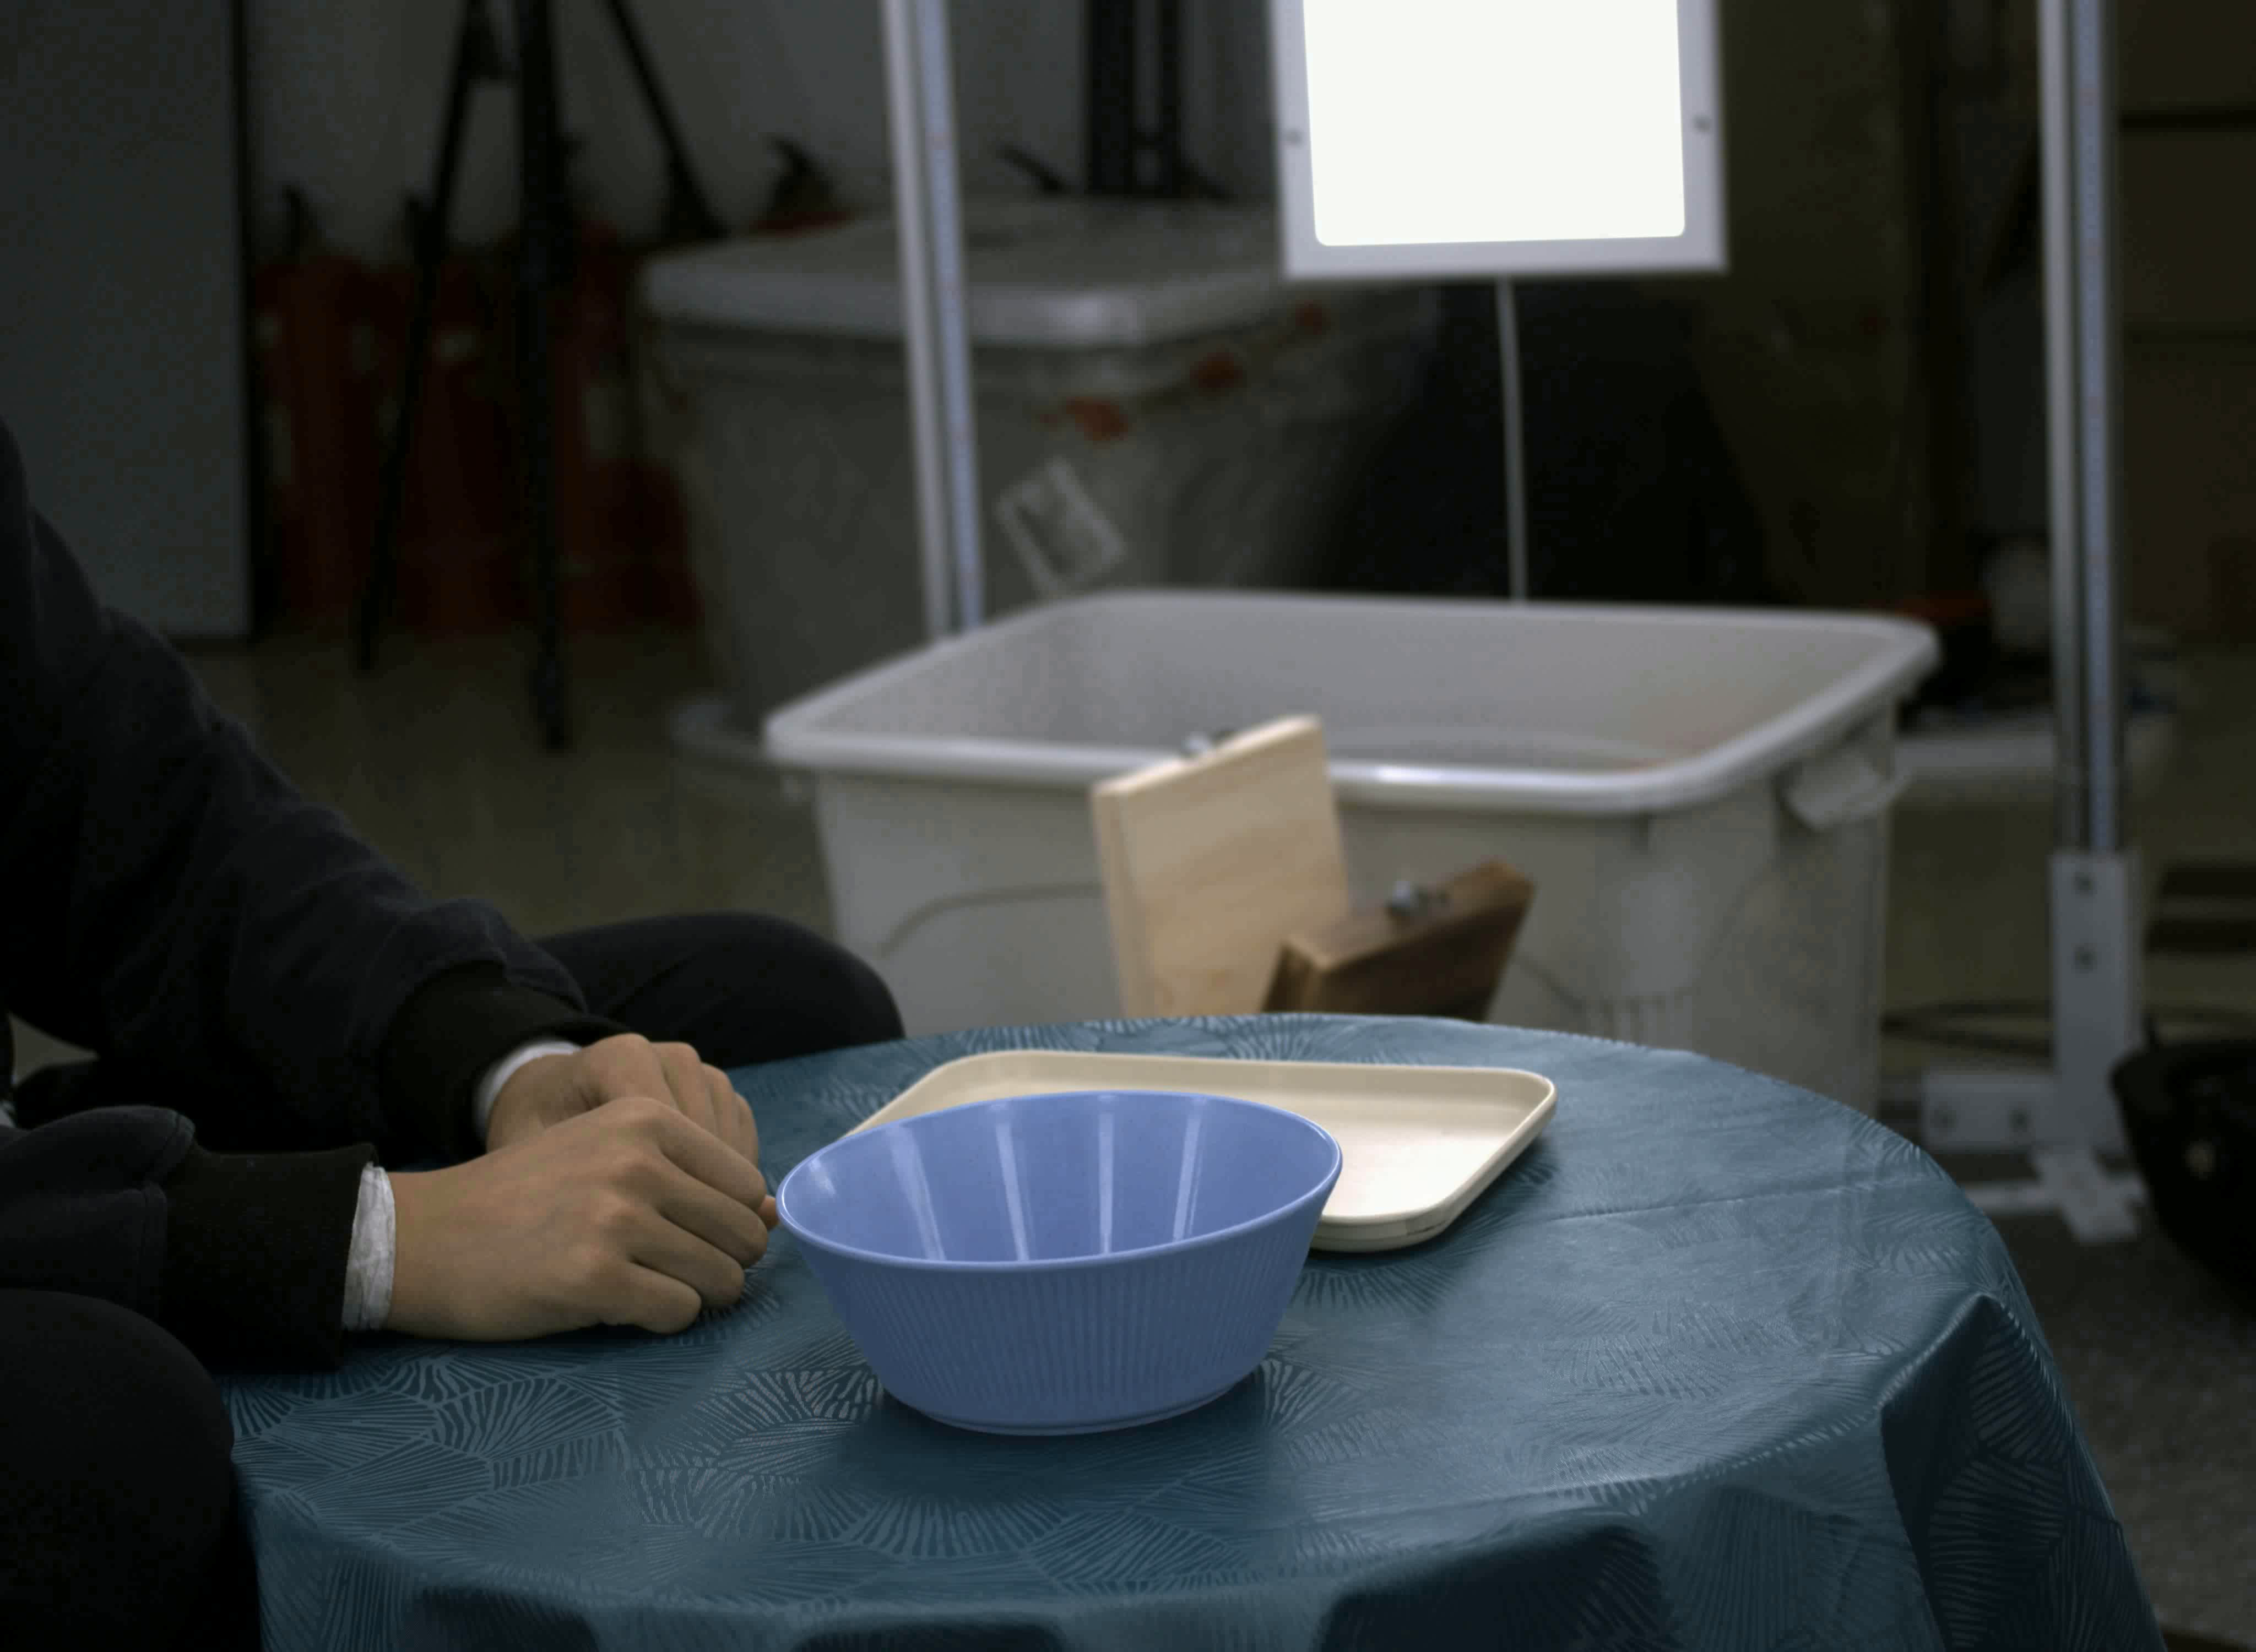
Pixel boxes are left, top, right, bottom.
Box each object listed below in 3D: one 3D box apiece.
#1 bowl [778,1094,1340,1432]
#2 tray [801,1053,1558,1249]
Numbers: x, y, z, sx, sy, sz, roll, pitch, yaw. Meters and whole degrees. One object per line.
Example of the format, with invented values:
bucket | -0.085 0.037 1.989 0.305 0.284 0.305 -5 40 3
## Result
bowl | -0.019 0.138 1.708 0.175 0.070 0.176 -5 13 0
tray | 0.020 0.113 1.910 0.243 0.017 0.168 1 14 24
